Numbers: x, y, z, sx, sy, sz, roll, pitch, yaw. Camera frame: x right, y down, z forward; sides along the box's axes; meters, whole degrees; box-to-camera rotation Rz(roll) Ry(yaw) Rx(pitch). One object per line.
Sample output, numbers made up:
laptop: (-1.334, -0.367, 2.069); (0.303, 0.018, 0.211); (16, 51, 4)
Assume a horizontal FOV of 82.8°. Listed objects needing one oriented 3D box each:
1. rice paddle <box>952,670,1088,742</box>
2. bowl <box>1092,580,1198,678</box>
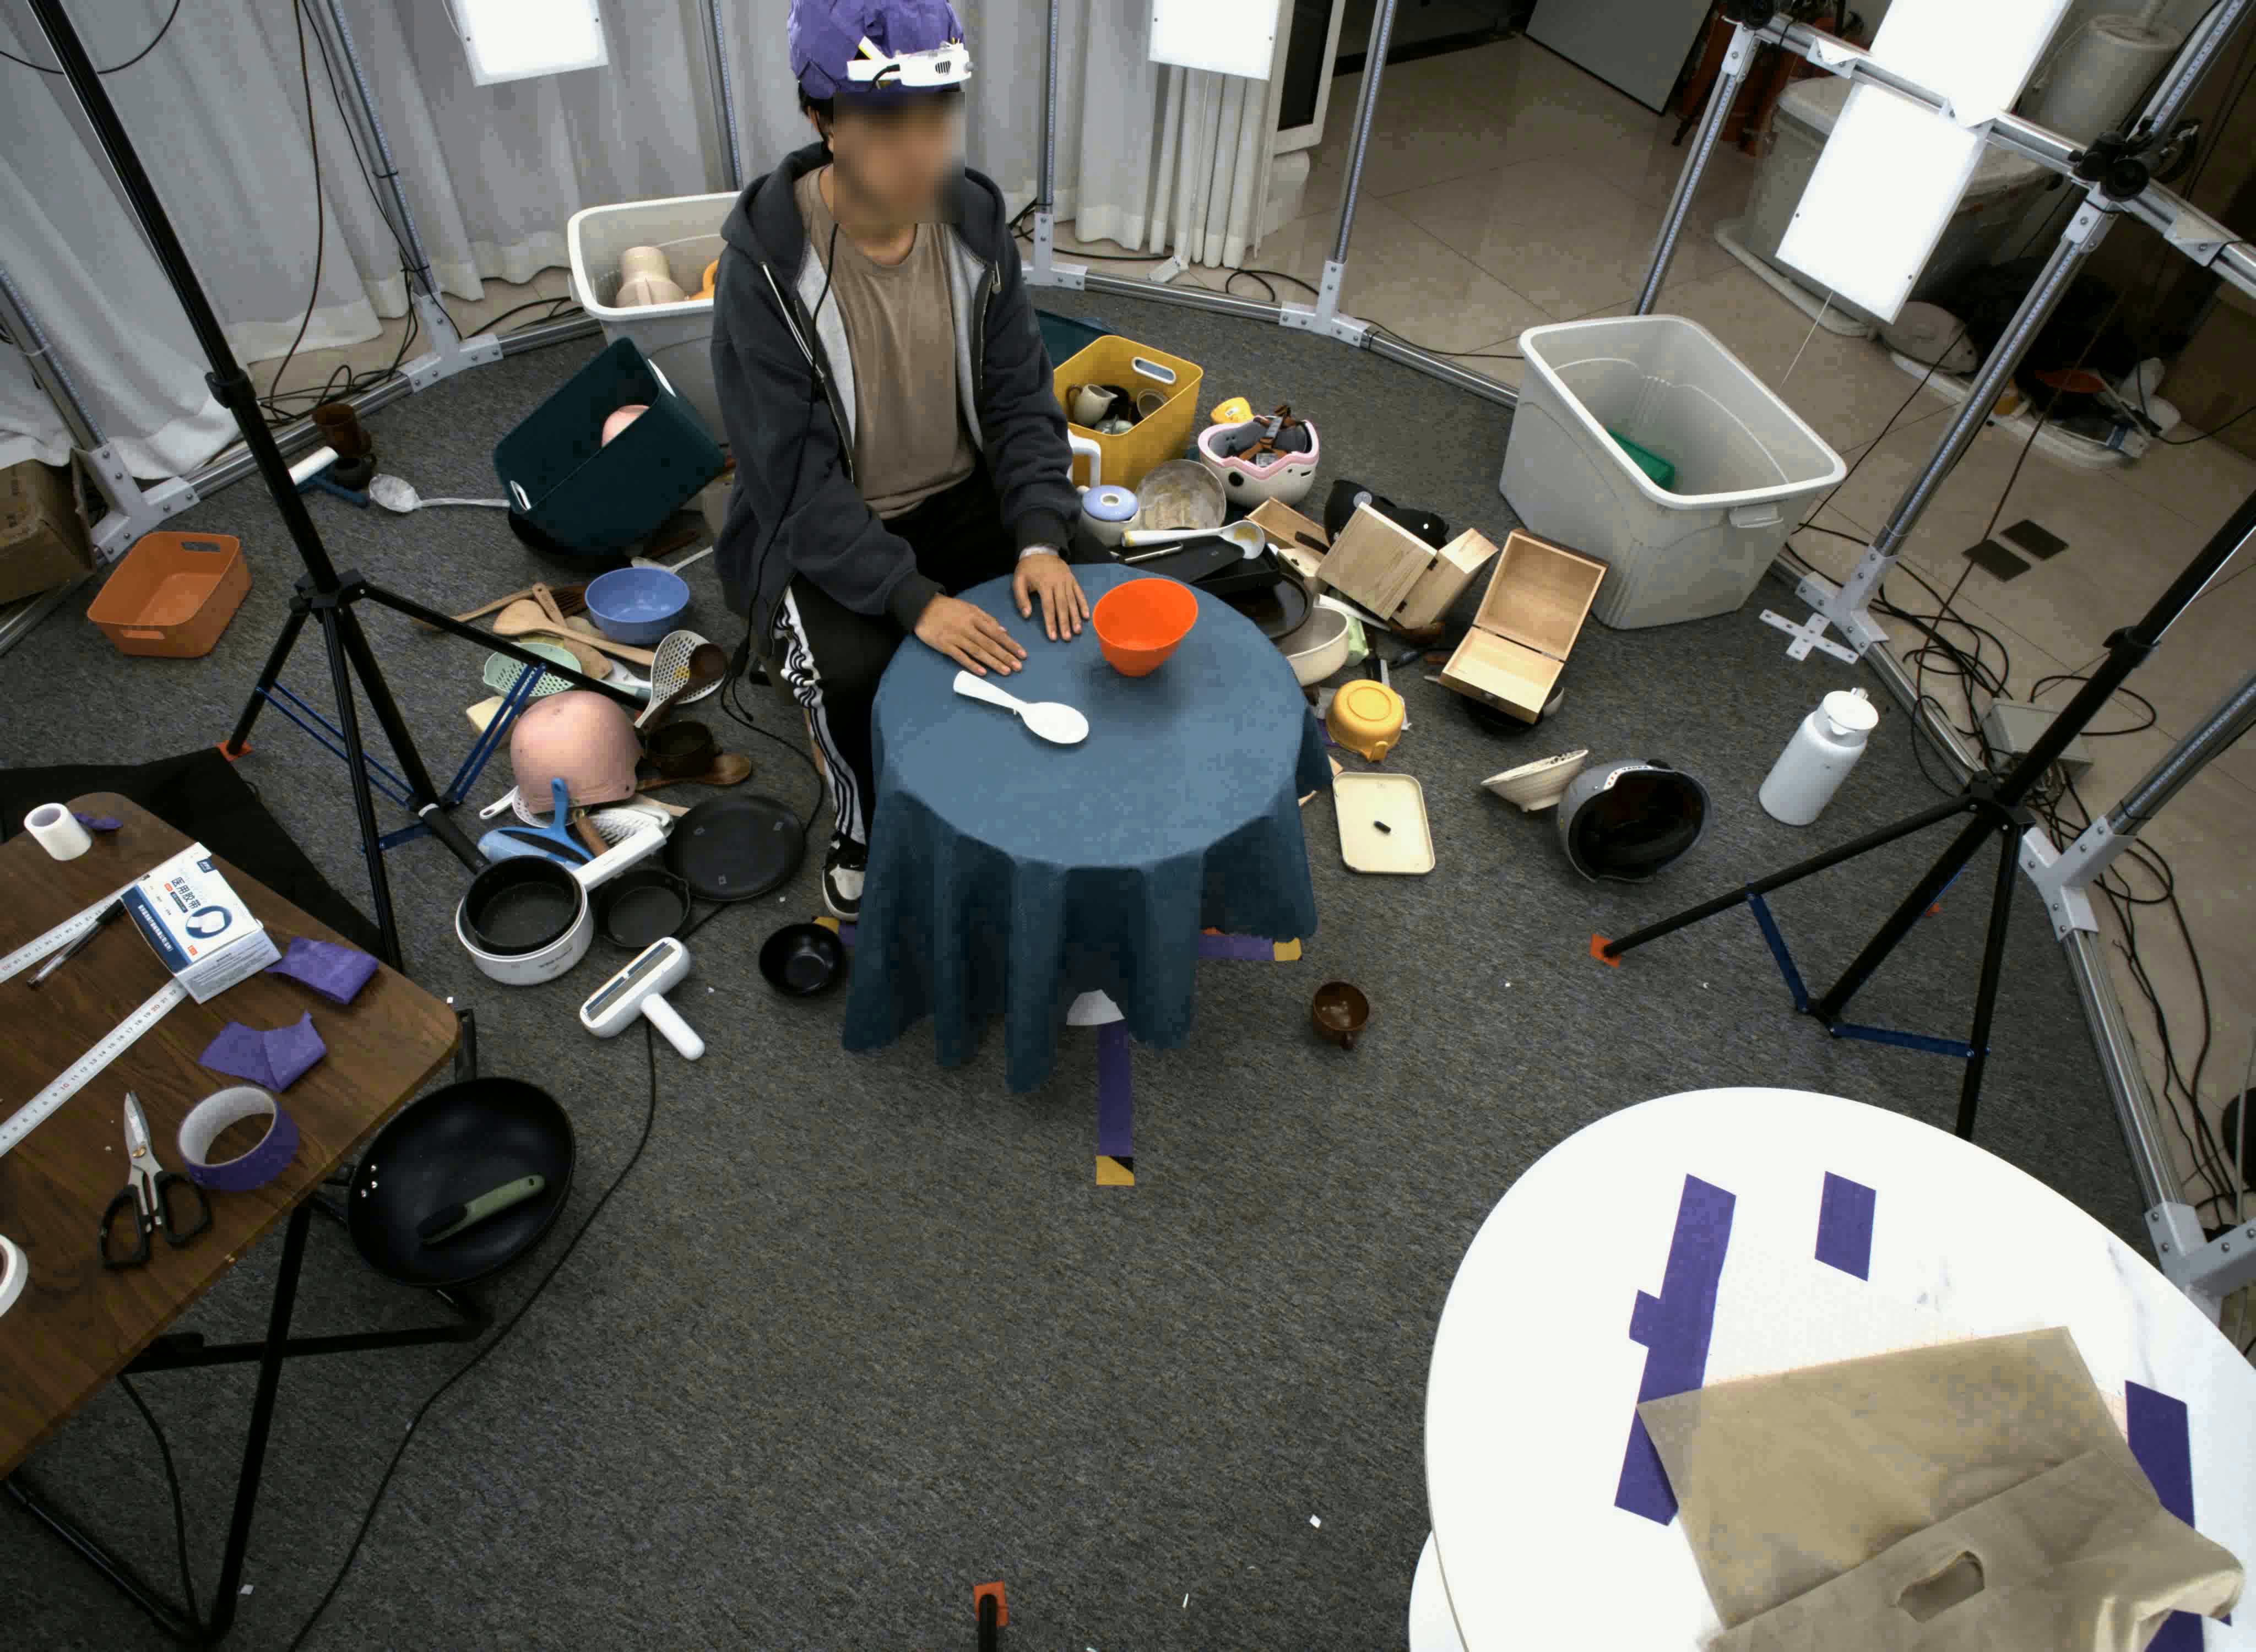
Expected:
rice paddle: (-0.148, -0.167, 1.782); (0.206, 0.029, 0.070); (23, 52, 15)
bowl: (0.022, -0.272, 1.840); (0.148, 0.102, 0.152); (1, 49, -1)
